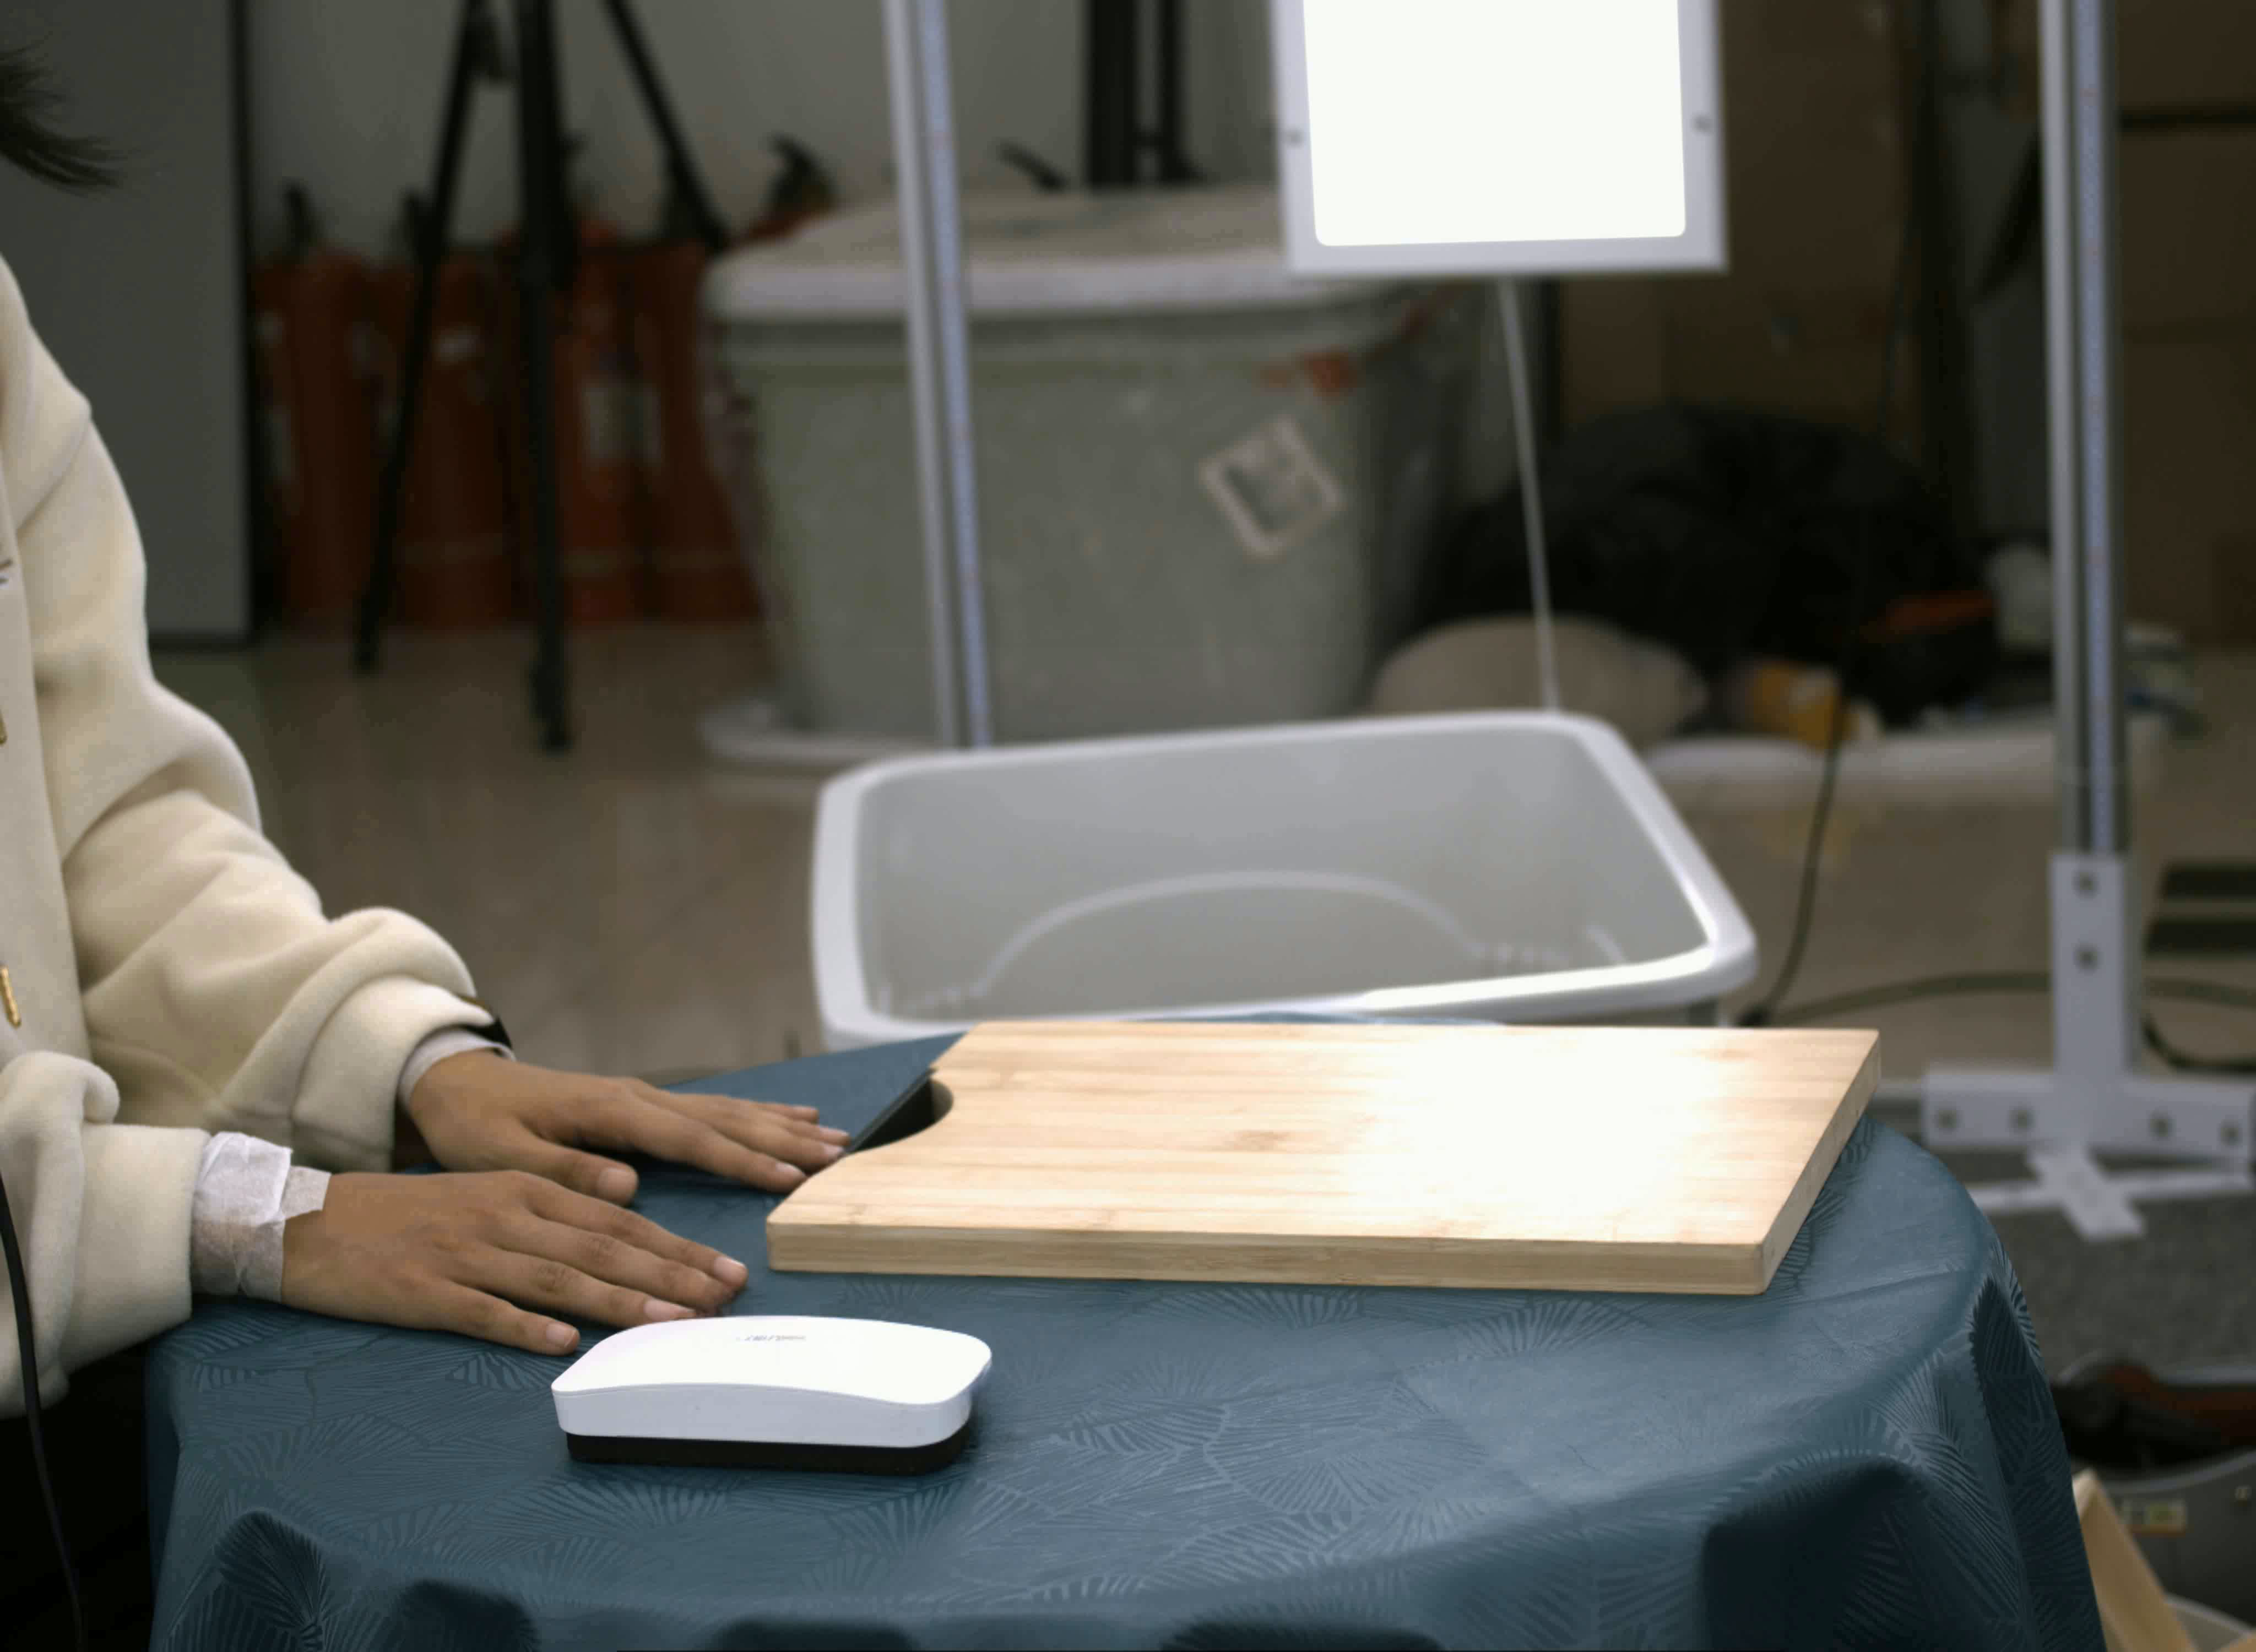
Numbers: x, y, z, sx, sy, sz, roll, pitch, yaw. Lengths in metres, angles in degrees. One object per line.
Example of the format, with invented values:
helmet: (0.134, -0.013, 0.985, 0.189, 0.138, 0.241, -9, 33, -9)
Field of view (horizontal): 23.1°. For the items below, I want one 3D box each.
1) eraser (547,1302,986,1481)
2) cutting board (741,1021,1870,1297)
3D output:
eraser: (-0.109, 0.173, 1.686, 0.133, 0.034, 0.062, 1, 16, 21)
cutting board: (0.068, 0.112, 1.901, 0.353, 0.023, 0.247, -1, 14, 18)
